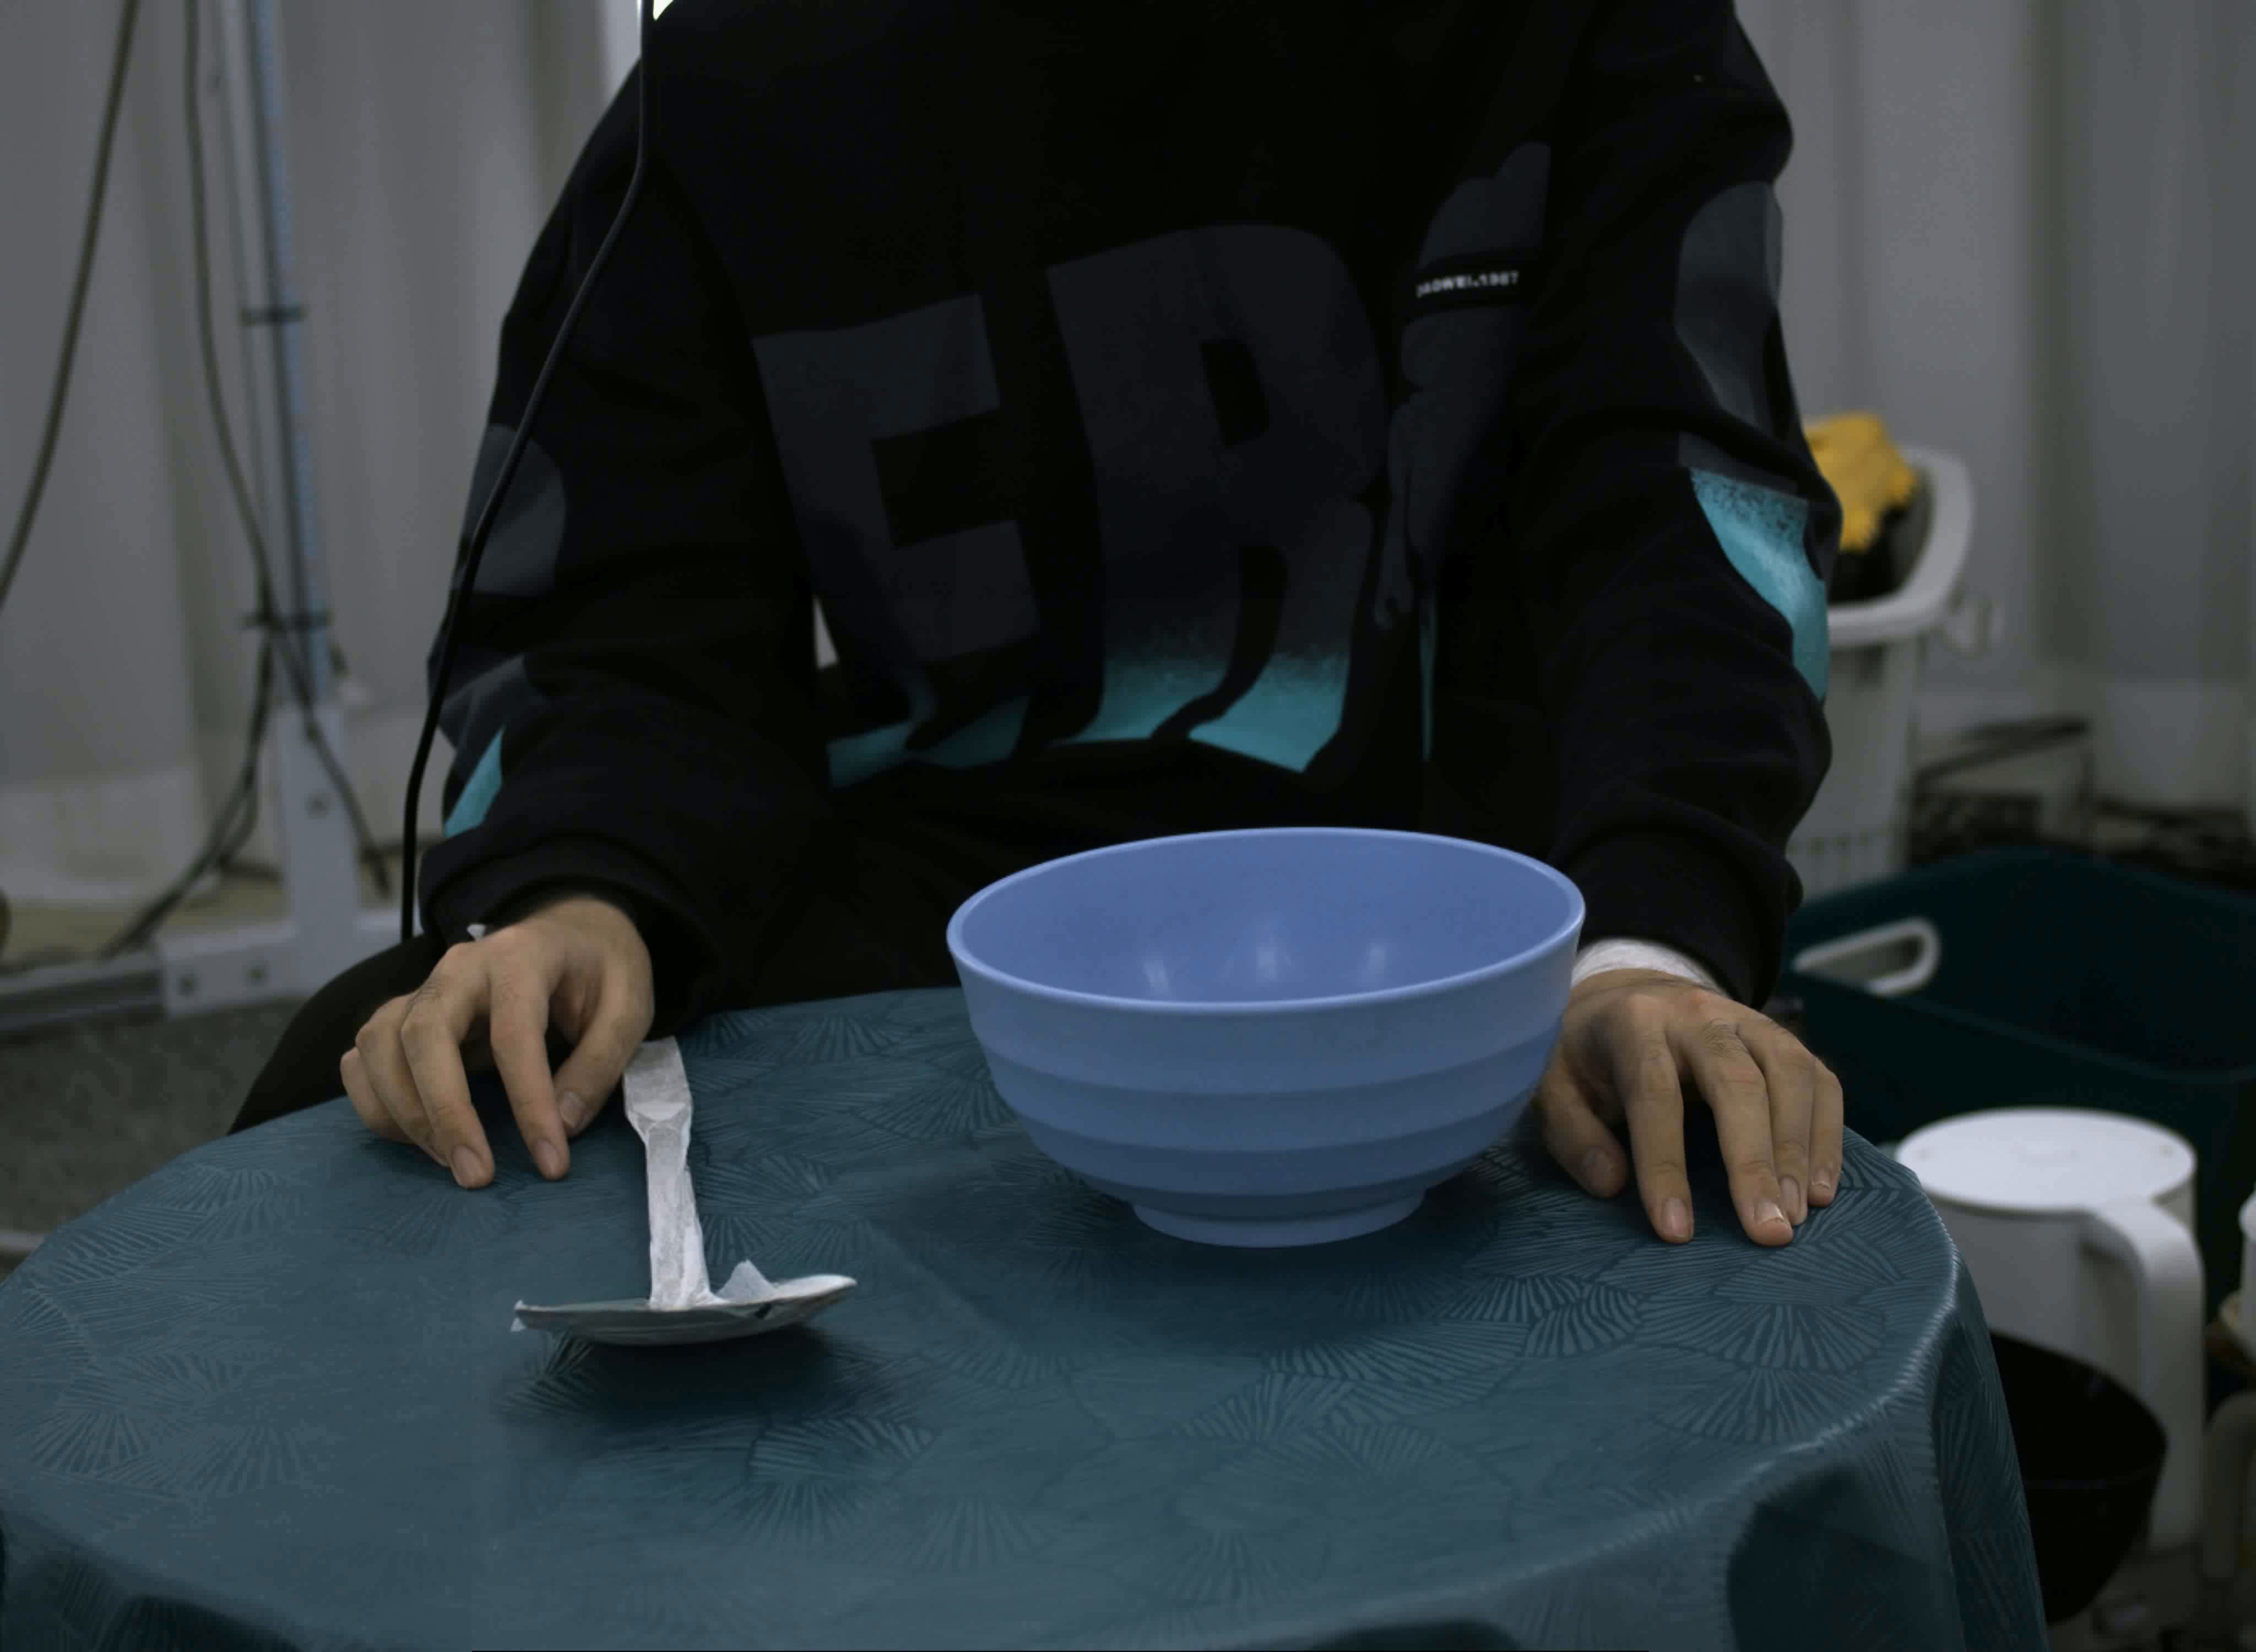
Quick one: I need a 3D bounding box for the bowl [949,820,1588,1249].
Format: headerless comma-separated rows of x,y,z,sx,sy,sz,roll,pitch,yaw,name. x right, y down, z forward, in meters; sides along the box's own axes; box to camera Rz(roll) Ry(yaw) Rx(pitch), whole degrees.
0.045,0.070,1.688,0.196,0.095,0.198,-3,16,1,bowl

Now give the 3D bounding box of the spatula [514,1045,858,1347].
-0.139,0.106,1.700,0.098,0.044,0.367,-5,15,-4,spatula
